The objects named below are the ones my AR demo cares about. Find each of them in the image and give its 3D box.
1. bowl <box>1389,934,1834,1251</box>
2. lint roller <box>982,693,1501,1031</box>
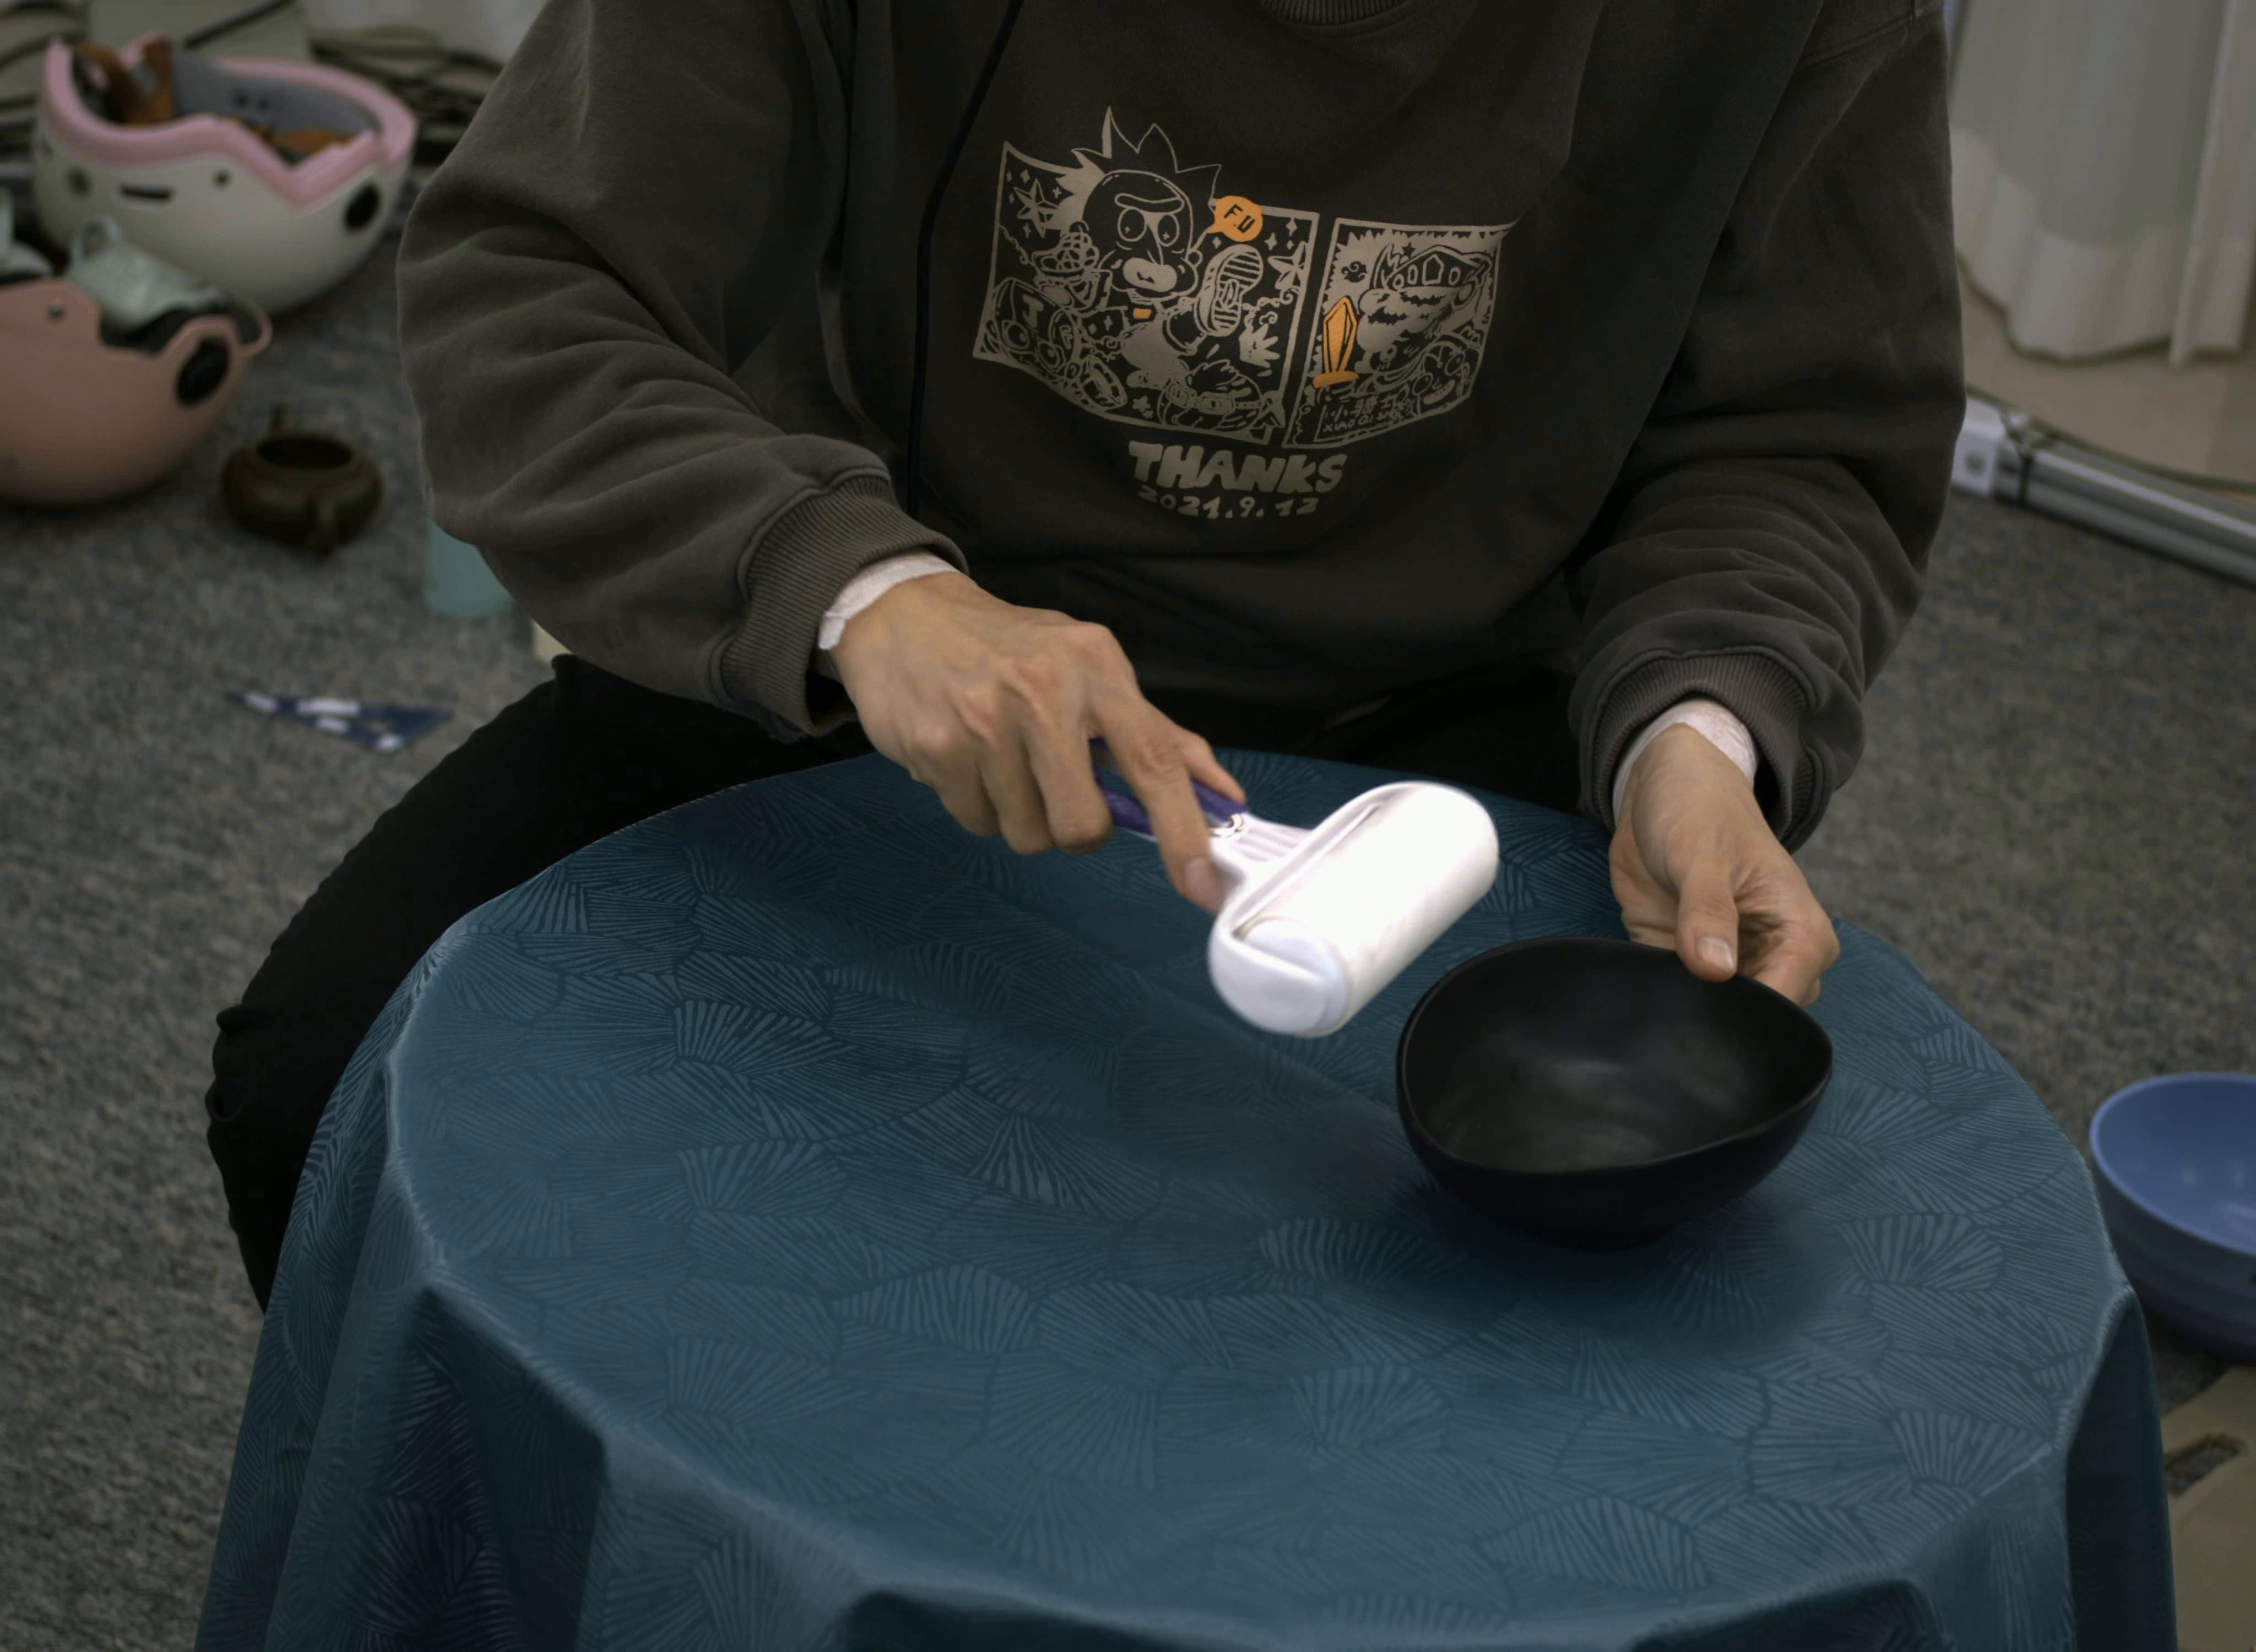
[{"bbox_3d":[0.162,0.101,1.815,0.138,0.066,0.169,26,34,35],"label":"bowl"},{"bbox_3d":[0.030,-0.009,1.804,0.181,0.050,0.133,35,41,18],"label":"lint roller"}]
